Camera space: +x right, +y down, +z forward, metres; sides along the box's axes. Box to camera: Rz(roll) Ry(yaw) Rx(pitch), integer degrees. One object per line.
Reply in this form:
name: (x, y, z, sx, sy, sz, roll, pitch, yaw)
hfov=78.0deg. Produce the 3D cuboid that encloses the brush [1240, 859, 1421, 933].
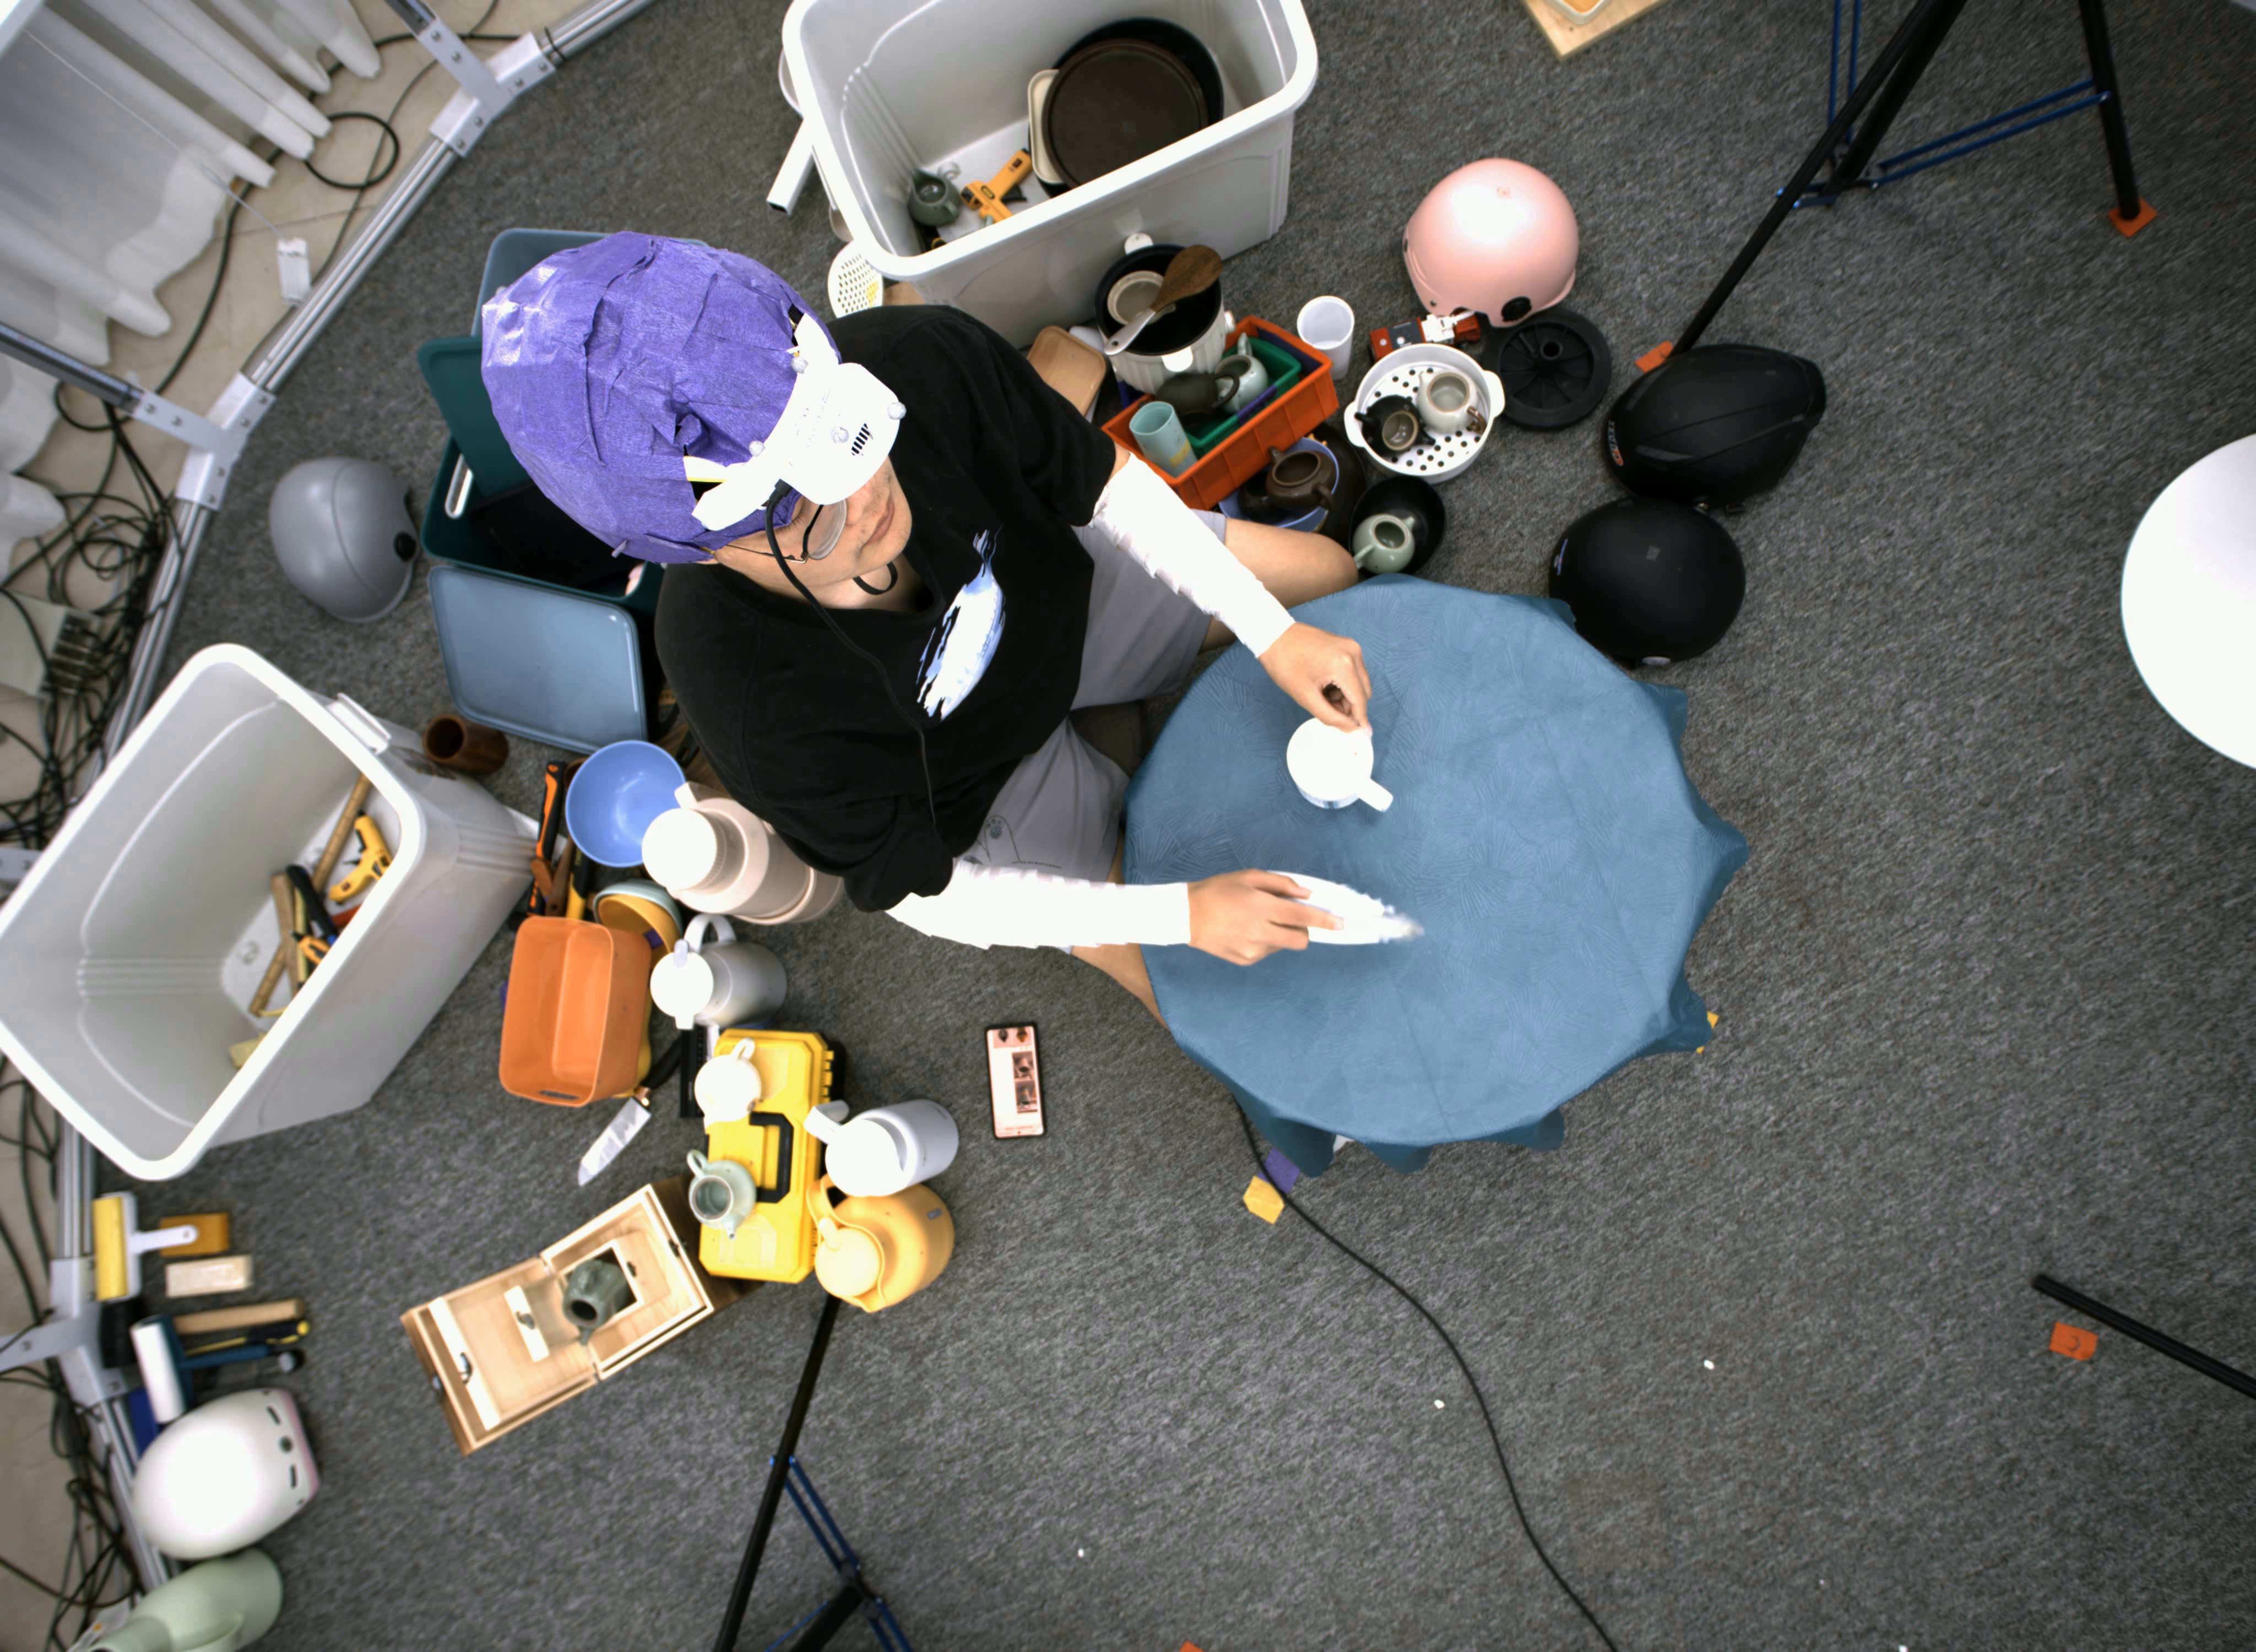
brush: (0.194, 0.077, 1.358, 0.176, 0.093, 0.062, 12, 101, 22)

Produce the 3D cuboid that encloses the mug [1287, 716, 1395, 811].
mug: (0.223, -0.056, 1.422, 0.118, 0.102, 0.085, 35, 92, 10)
